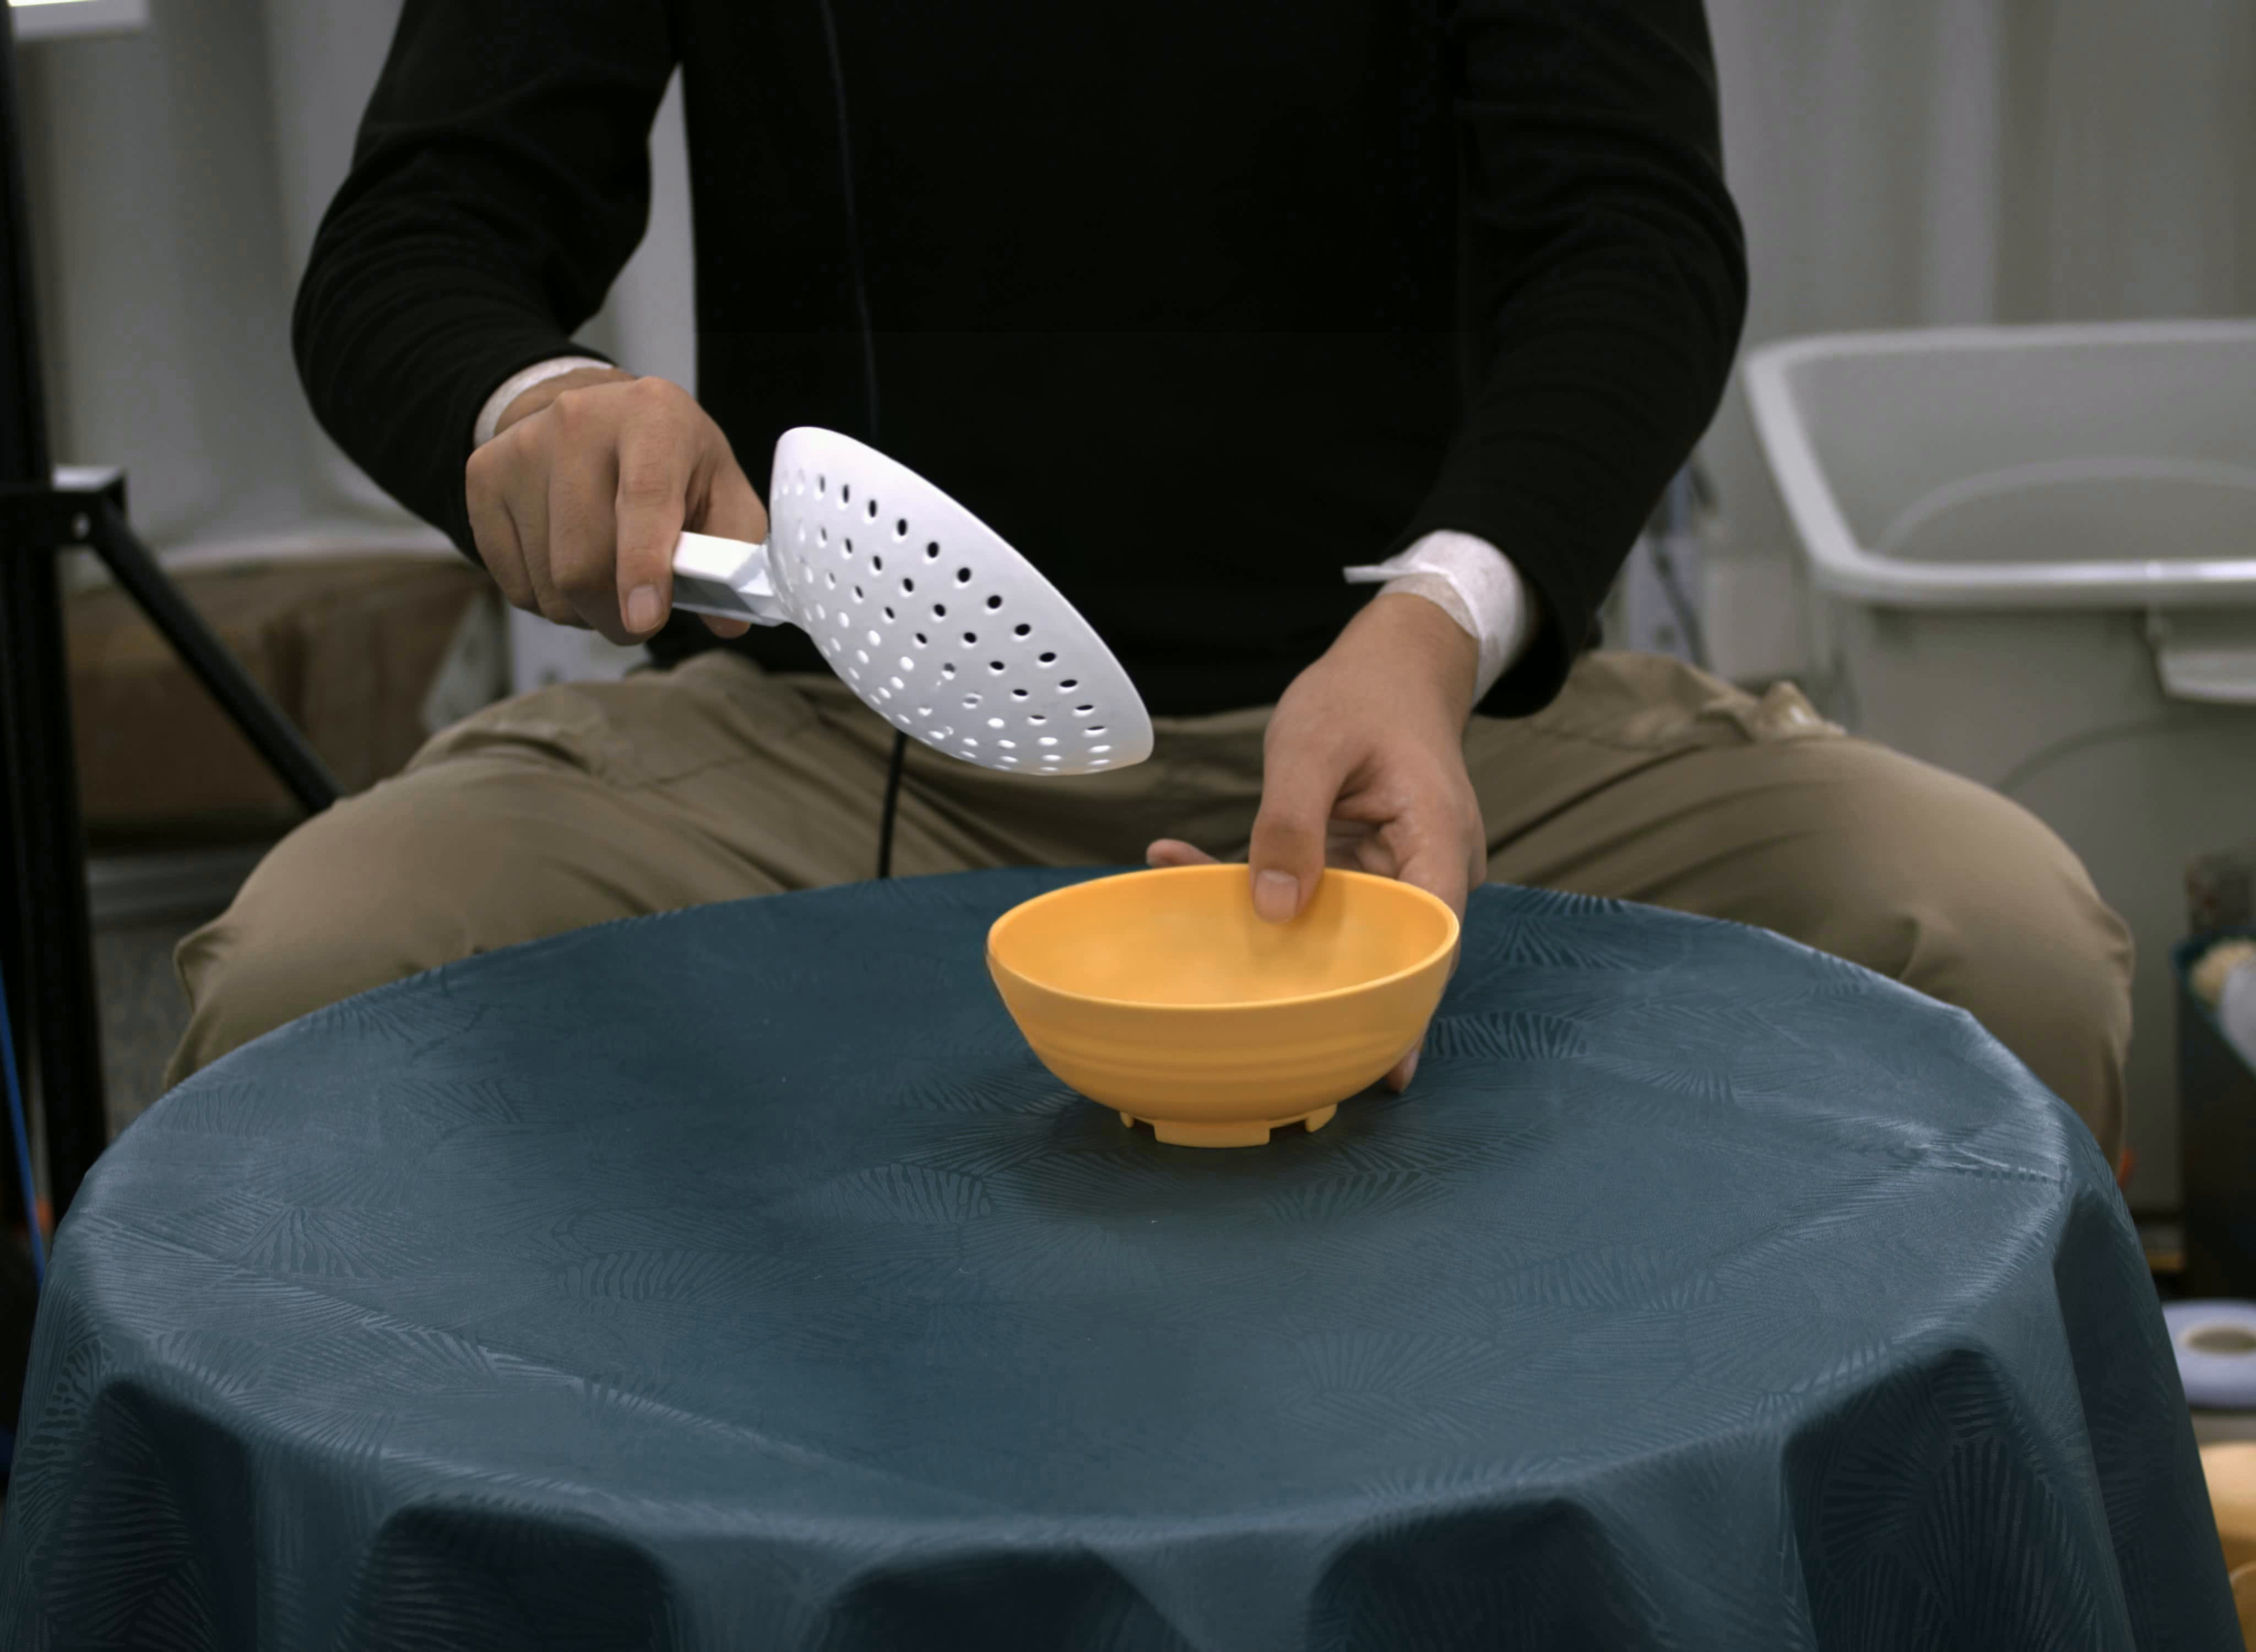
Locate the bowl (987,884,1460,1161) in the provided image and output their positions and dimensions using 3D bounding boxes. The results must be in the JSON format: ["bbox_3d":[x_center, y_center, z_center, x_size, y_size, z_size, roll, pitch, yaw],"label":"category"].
[{"bbox_3d":[0.029,0.064,1.616,0.144,0.060,0.146,0,14,-1],"label":"bowl"}]

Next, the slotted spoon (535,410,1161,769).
[{"bbox_3d":[-0.100,-0.073,1.585,0.045,0.134,0.356,-46,24,-11],"label":"slotted spoon"}]
